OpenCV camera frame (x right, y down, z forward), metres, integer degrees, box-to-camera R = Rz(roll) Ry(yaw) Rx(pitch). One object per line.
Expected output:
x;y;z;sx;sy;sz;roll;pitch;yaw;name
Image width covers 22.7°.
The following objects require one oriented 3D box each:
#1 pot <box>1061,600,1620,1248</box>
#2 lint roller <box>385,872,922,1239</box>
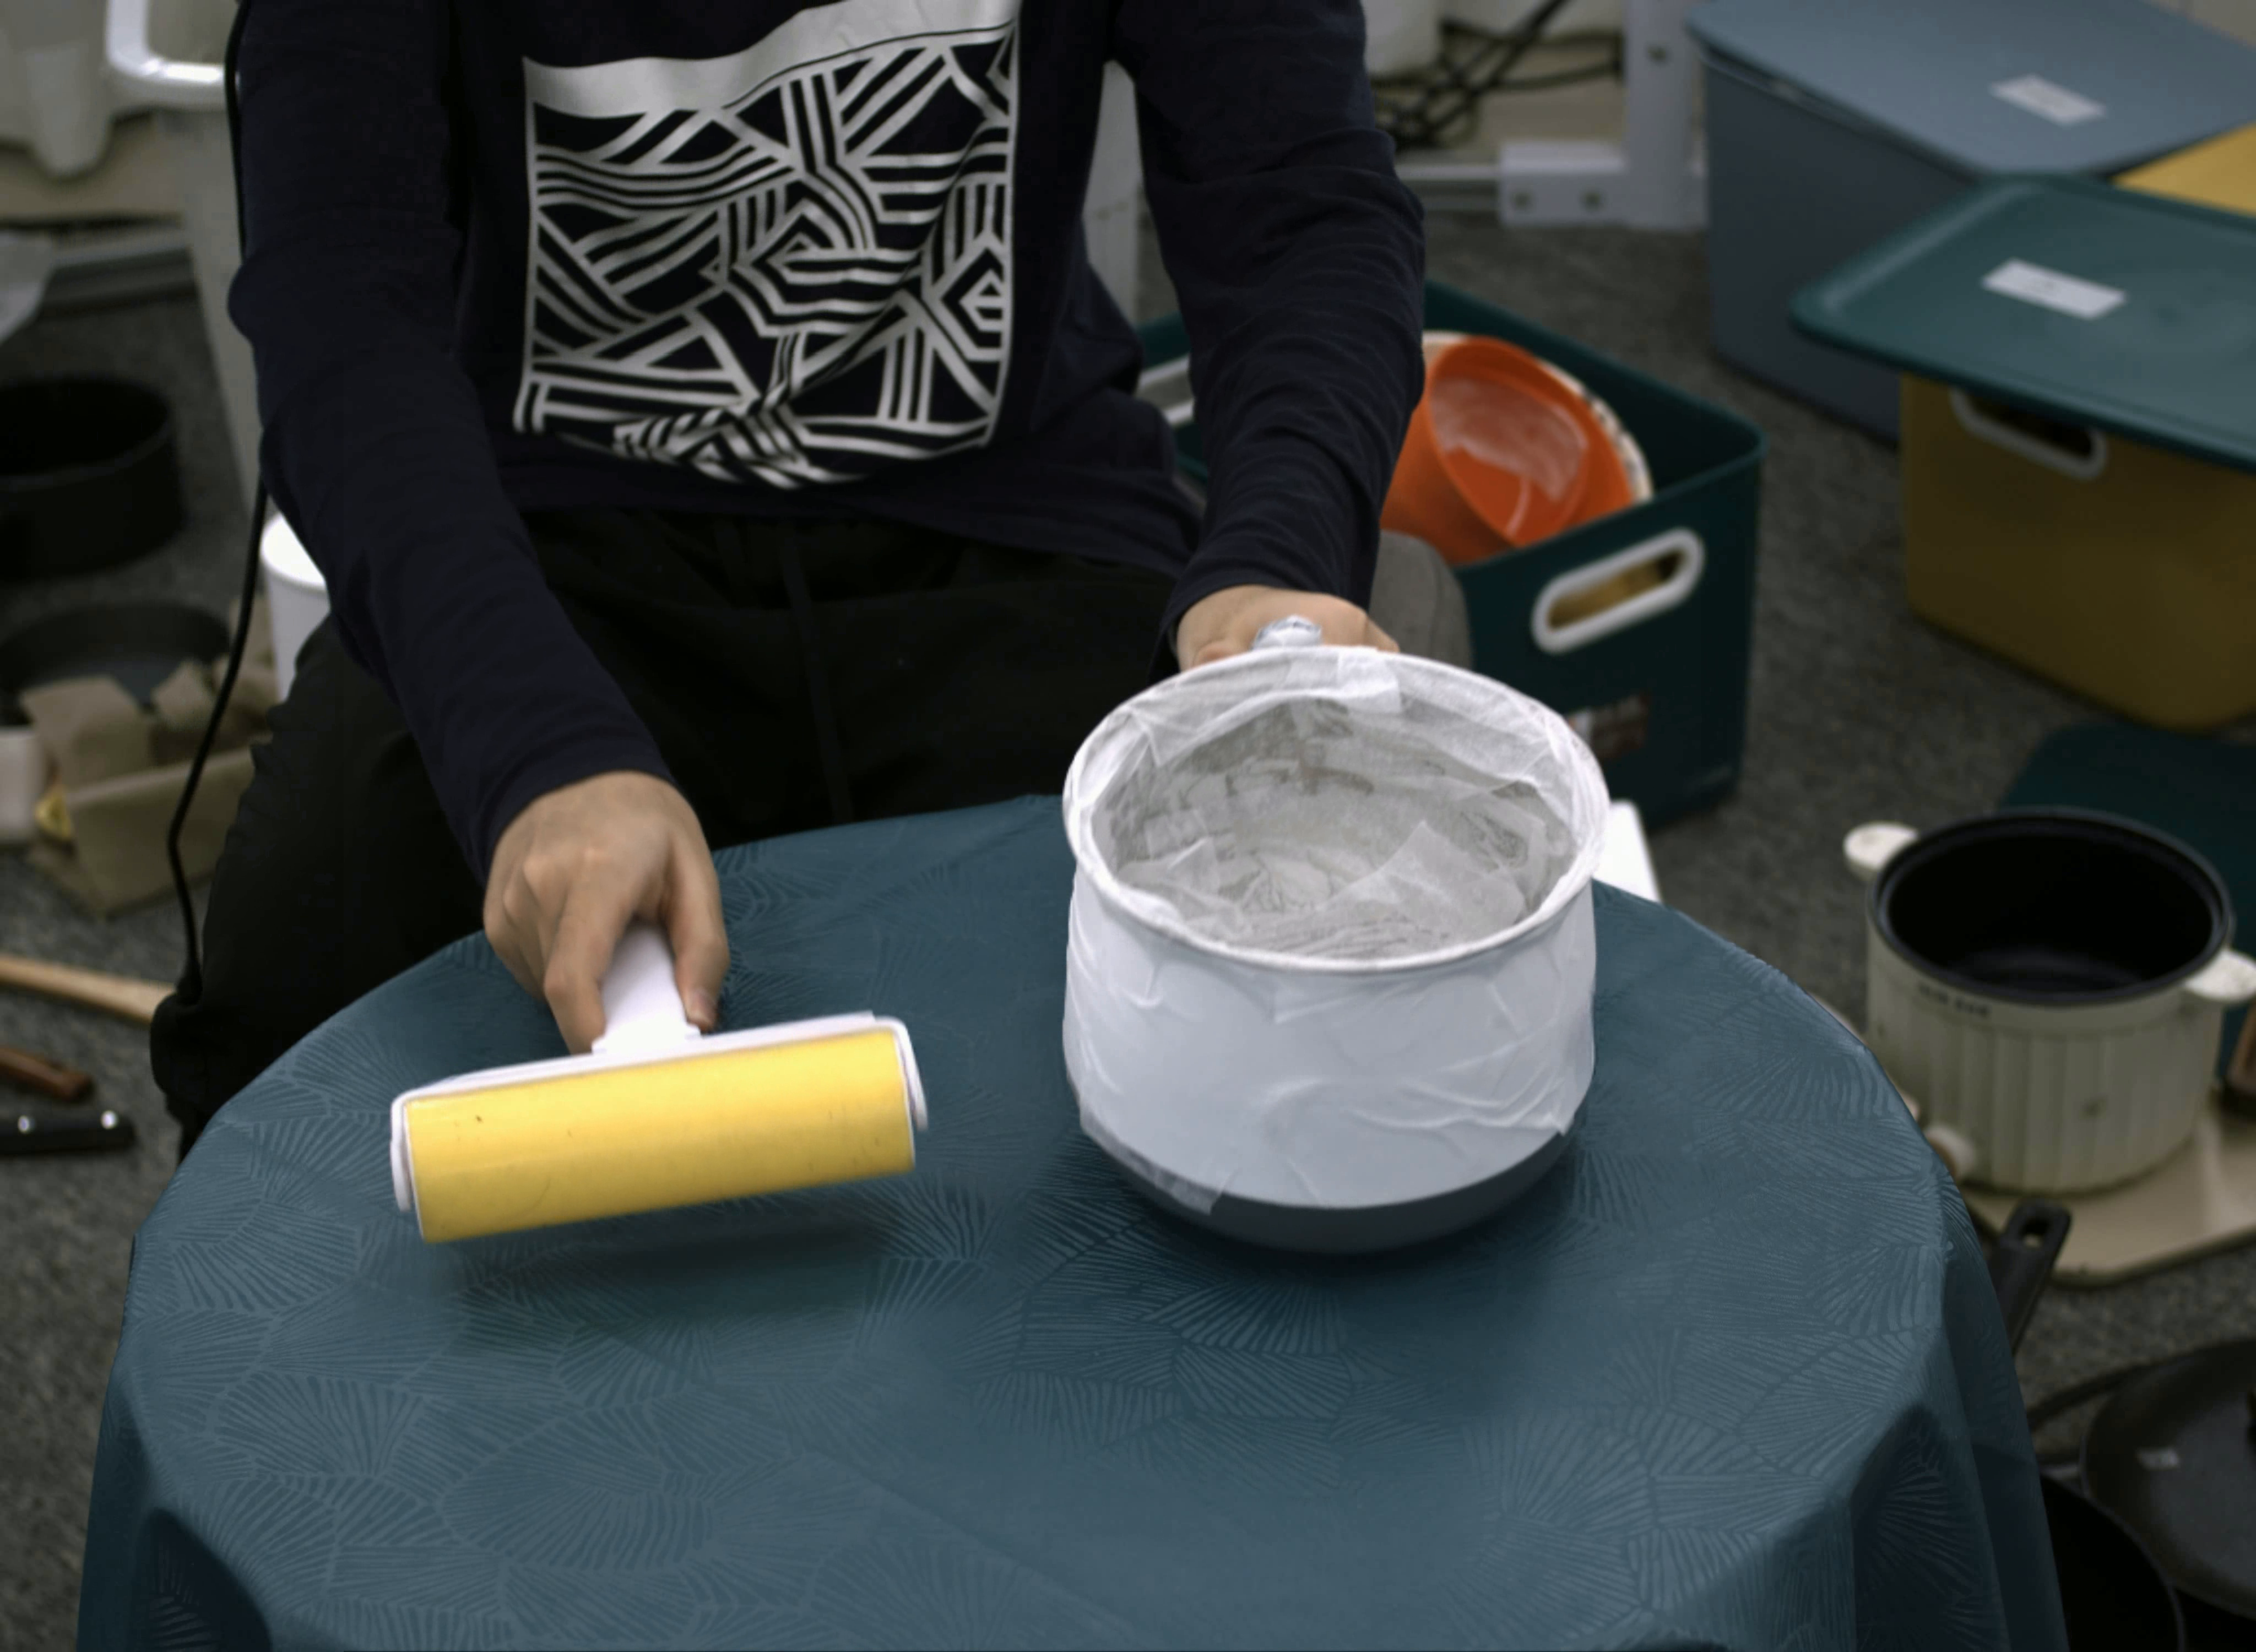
0.063;0.023;1.858;0.178;0.134;0.237;-3;36;-8;pot
-0.167;0.059;1.877;0.174;0.051;0.195;-9;36;-7;lint roller
